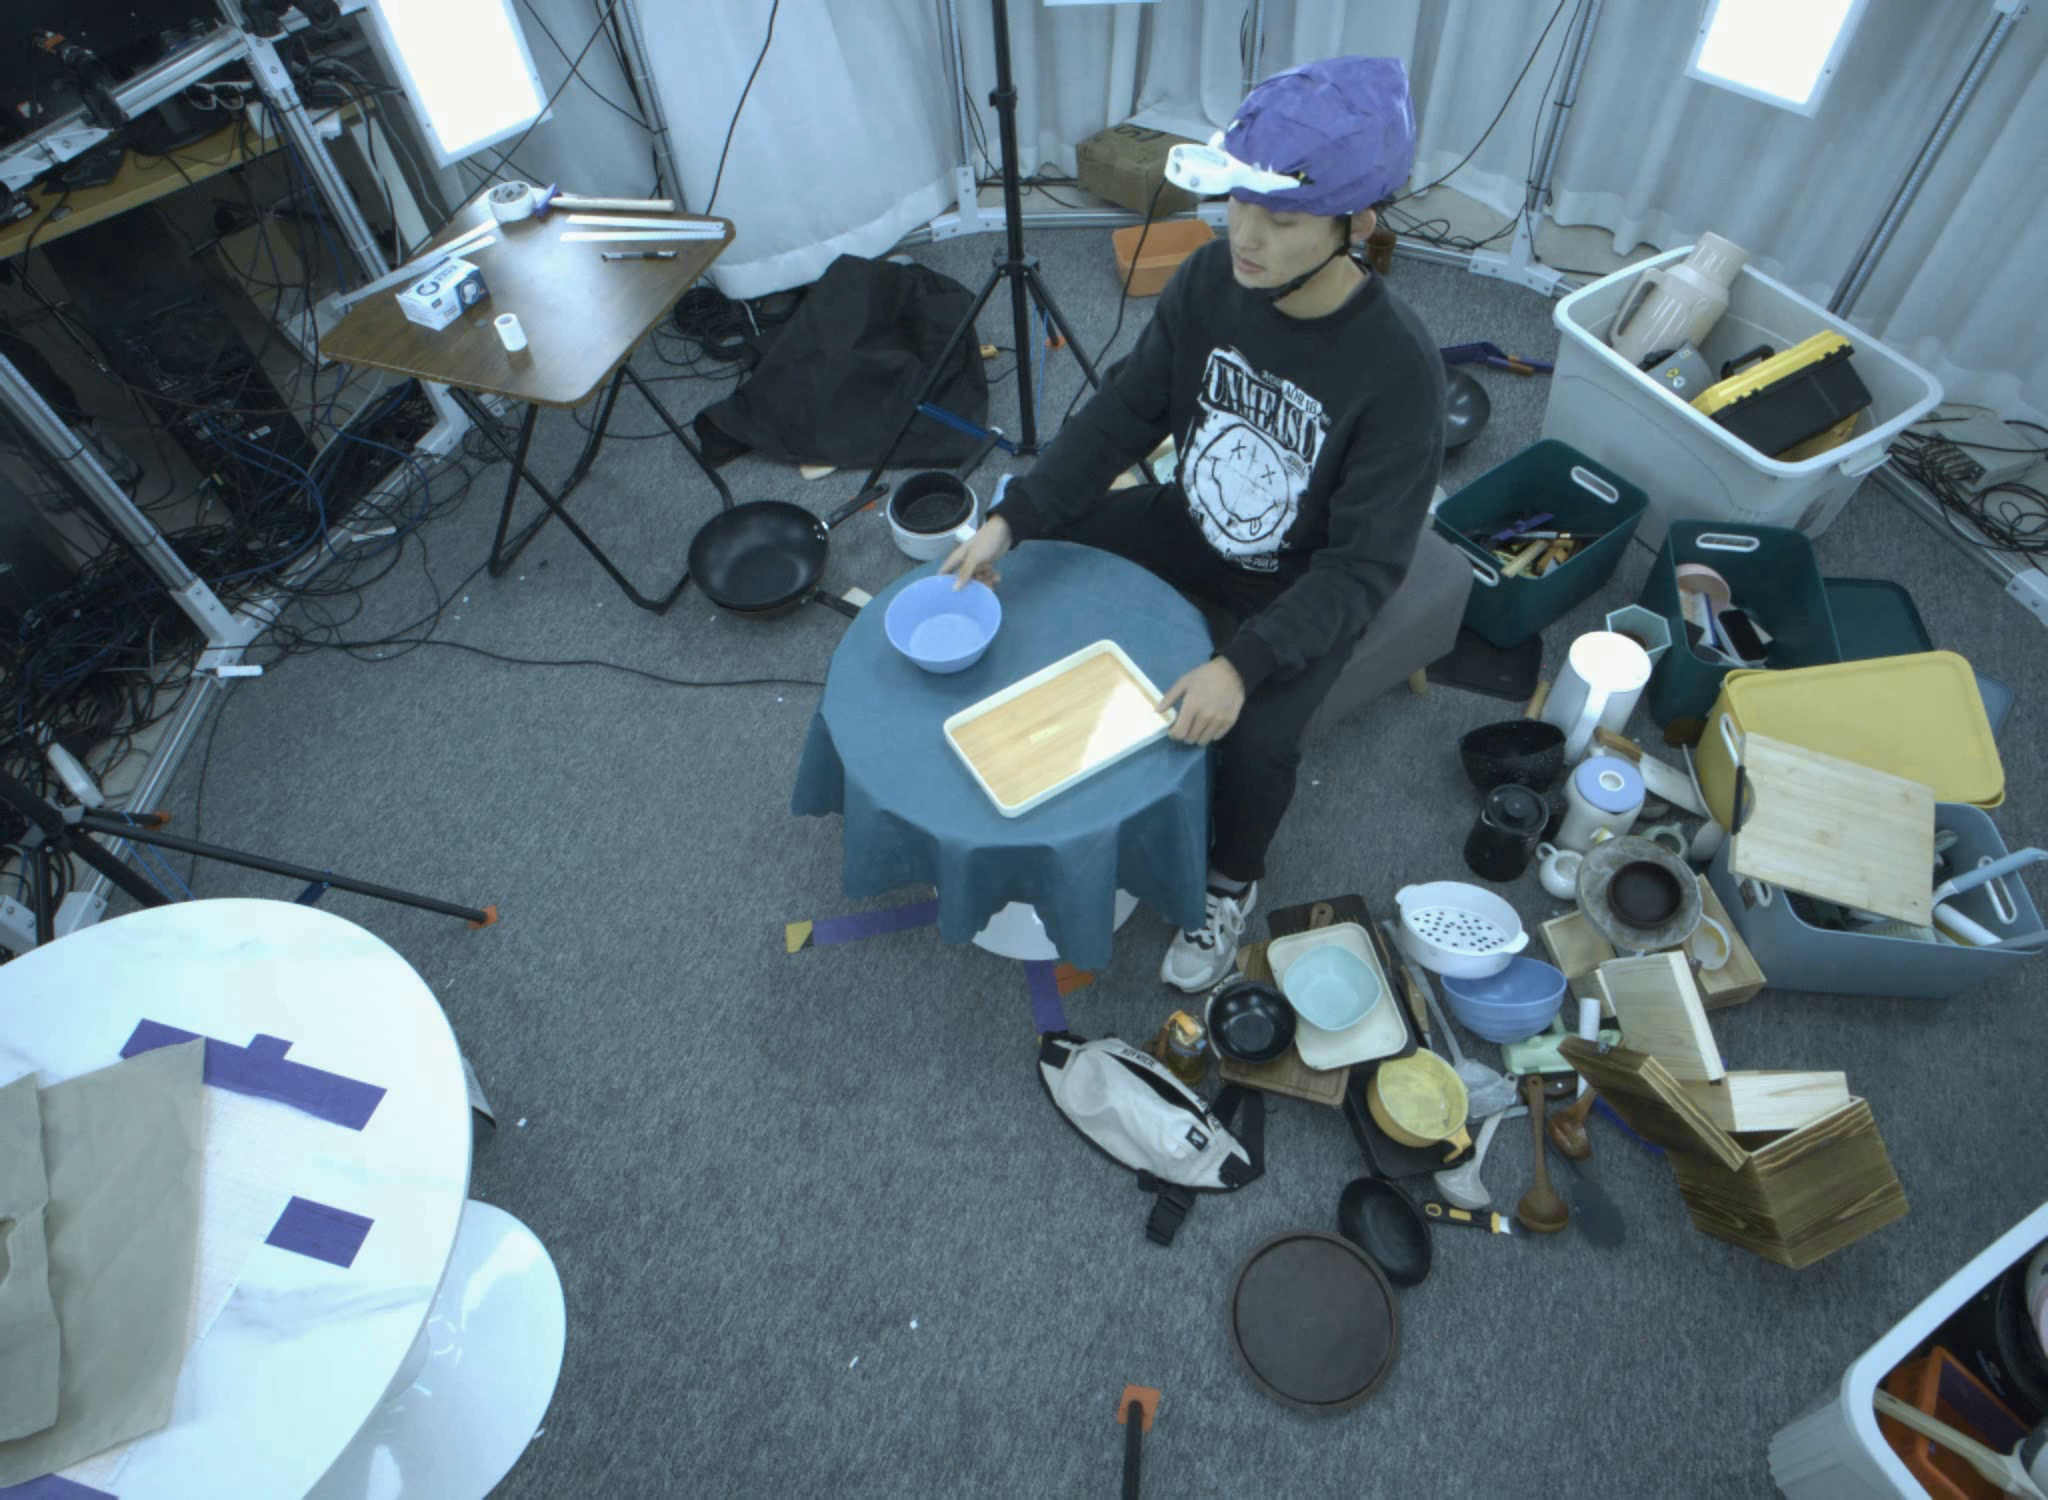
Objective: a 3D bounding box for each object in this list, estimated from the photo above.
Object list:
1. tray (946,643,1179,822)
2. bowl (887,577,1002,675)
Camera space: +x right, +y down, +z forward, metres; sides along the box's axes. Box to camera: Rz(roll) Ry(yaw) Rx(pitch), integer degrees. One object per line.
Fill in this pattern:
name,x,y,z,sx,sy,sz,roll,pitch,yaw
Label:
tray,0.056,-0.031,1.802,0.302,0.028,0.188,-28,59,-17
bowl,-0.119,-0.180,1.884,0.176,0.071,0.174,0,56,2
